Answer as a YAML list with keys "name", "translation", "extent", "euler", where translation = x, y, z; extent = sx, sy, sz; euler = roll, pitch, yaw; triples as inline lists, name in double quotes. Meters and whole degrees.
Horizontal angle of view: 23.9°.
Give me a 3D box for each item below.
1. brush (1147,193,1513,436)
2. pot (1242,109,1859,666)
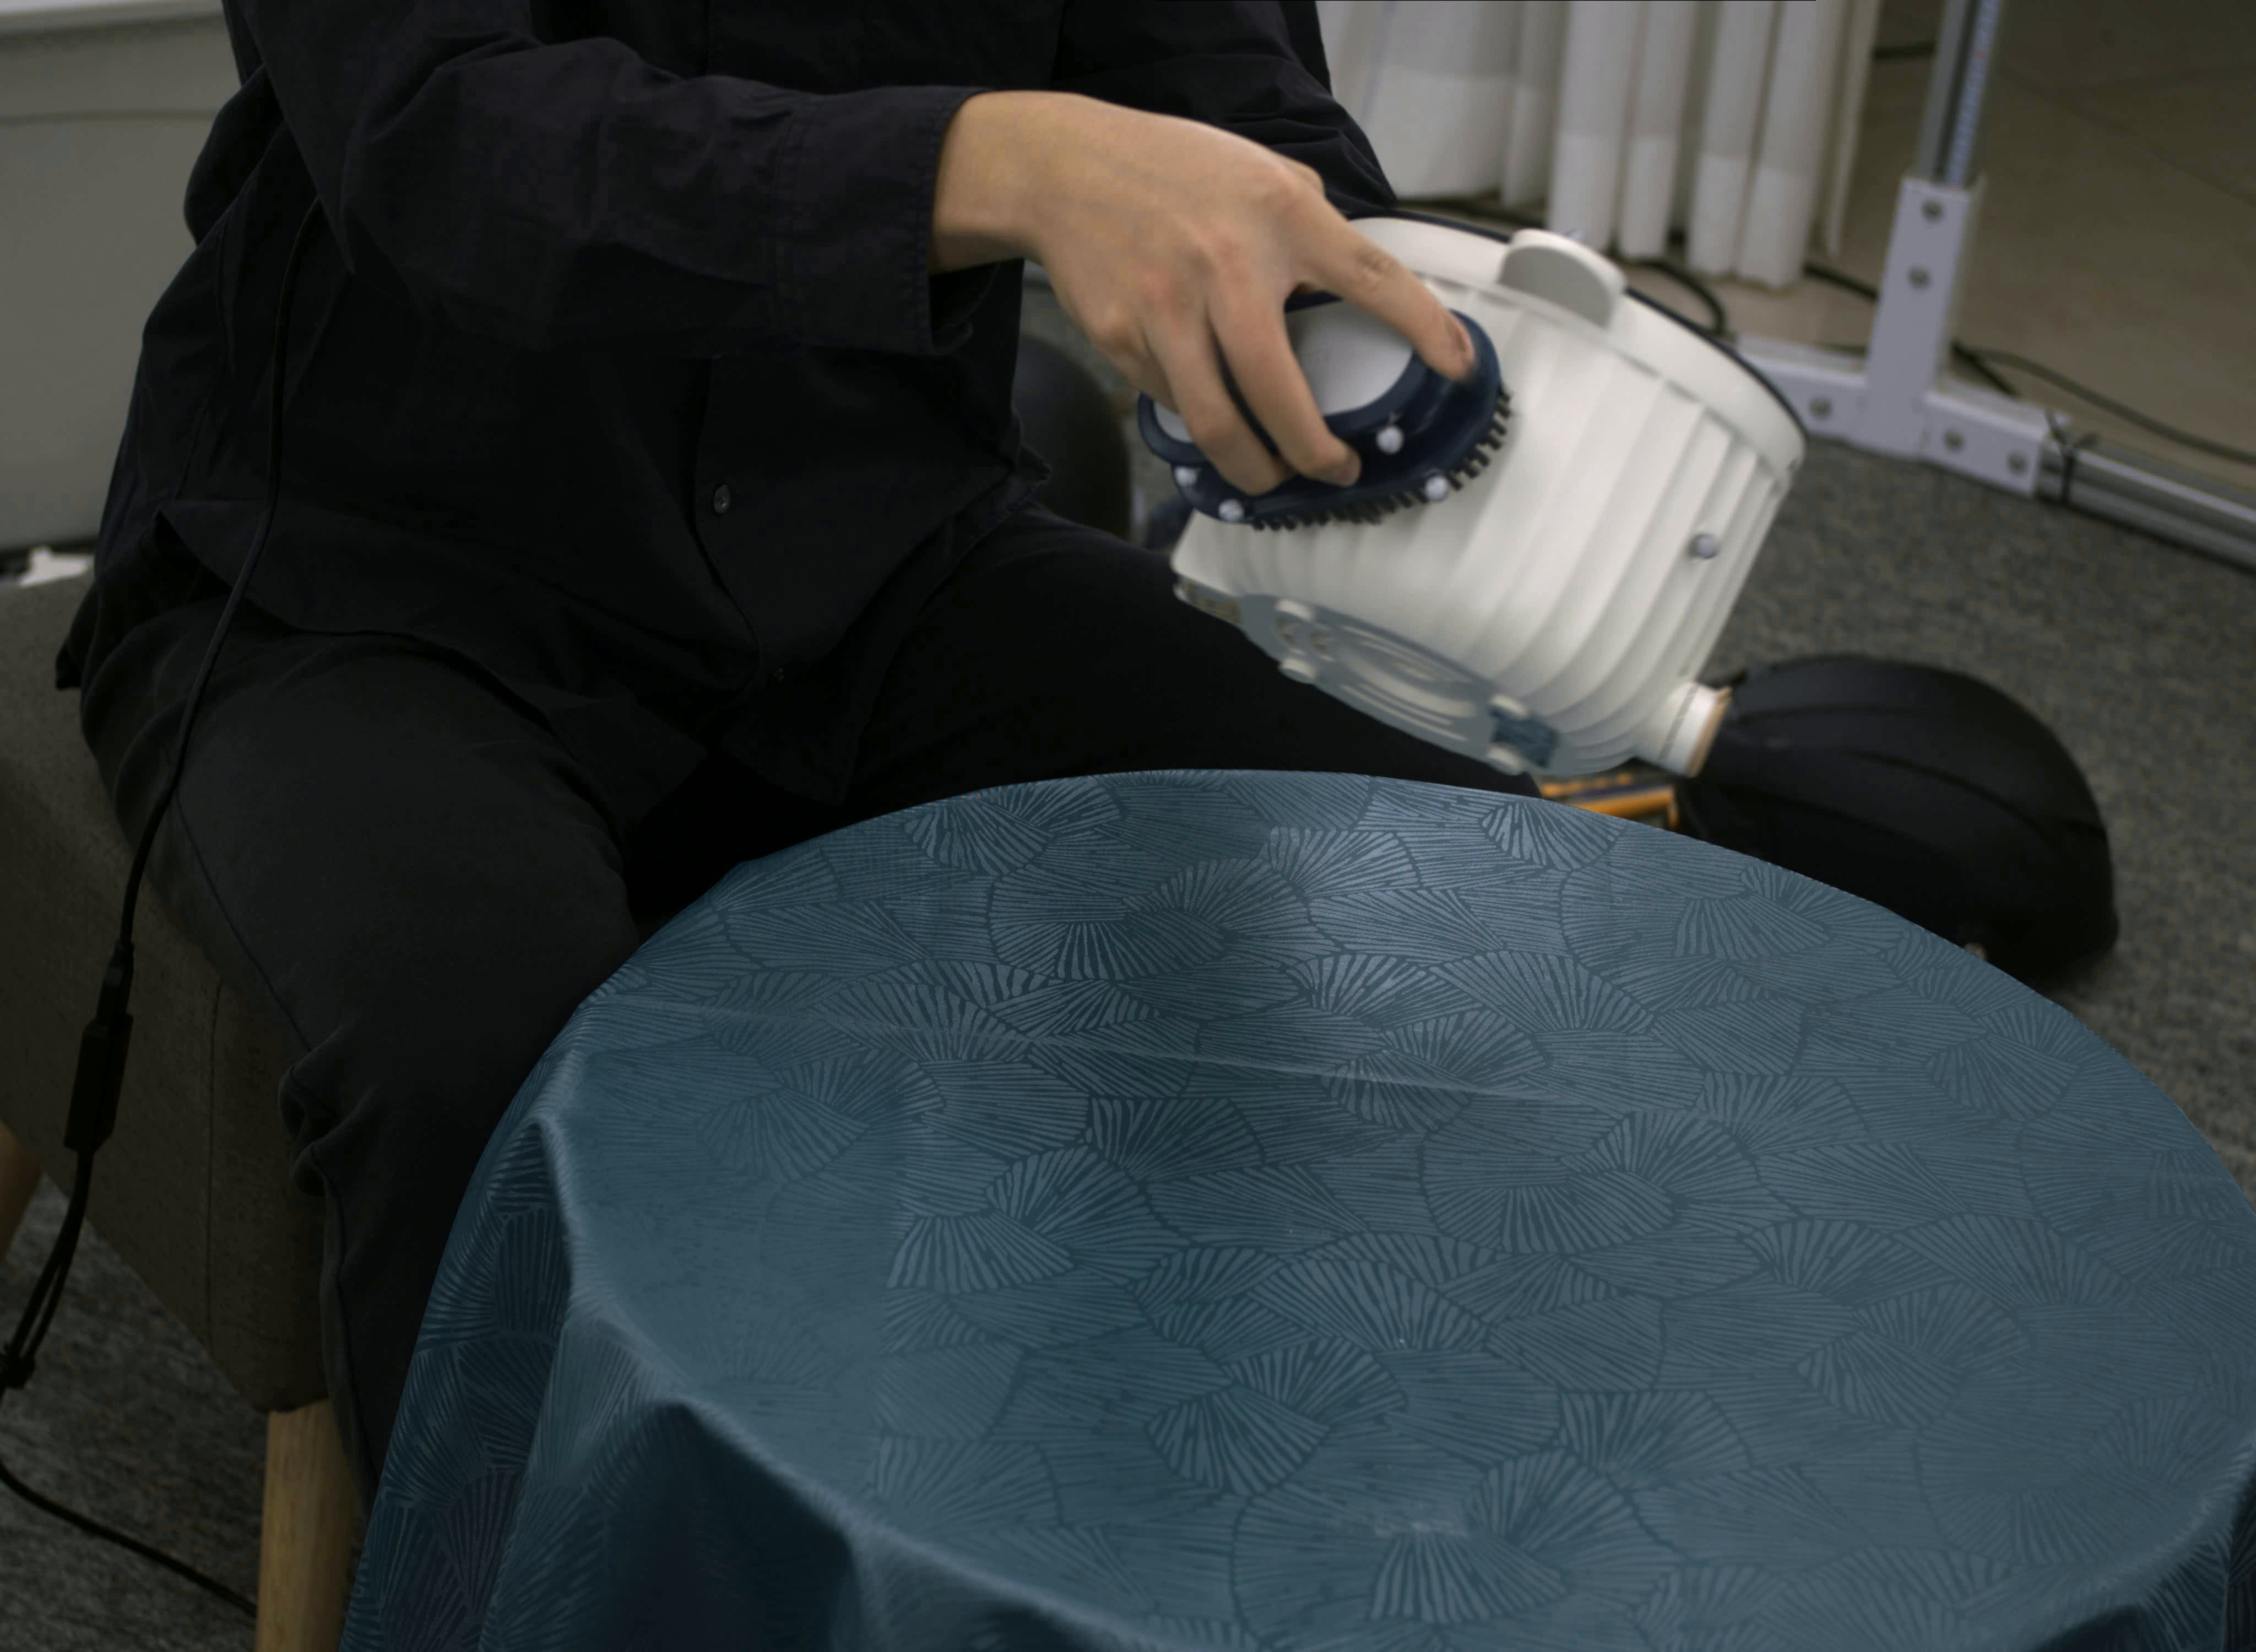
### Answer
- name: "brush"
  translation: [0.068, -0.165, 1.743]
  extent: [0.122, 0.068, 0.060]
  euler: [-5, -24, 32]
- name: "pot"
  translation: [0.149, -0.141, 1.844]
  extent: [0.190, 0.143, 0.239]
  euler: [21, -10, 7]
